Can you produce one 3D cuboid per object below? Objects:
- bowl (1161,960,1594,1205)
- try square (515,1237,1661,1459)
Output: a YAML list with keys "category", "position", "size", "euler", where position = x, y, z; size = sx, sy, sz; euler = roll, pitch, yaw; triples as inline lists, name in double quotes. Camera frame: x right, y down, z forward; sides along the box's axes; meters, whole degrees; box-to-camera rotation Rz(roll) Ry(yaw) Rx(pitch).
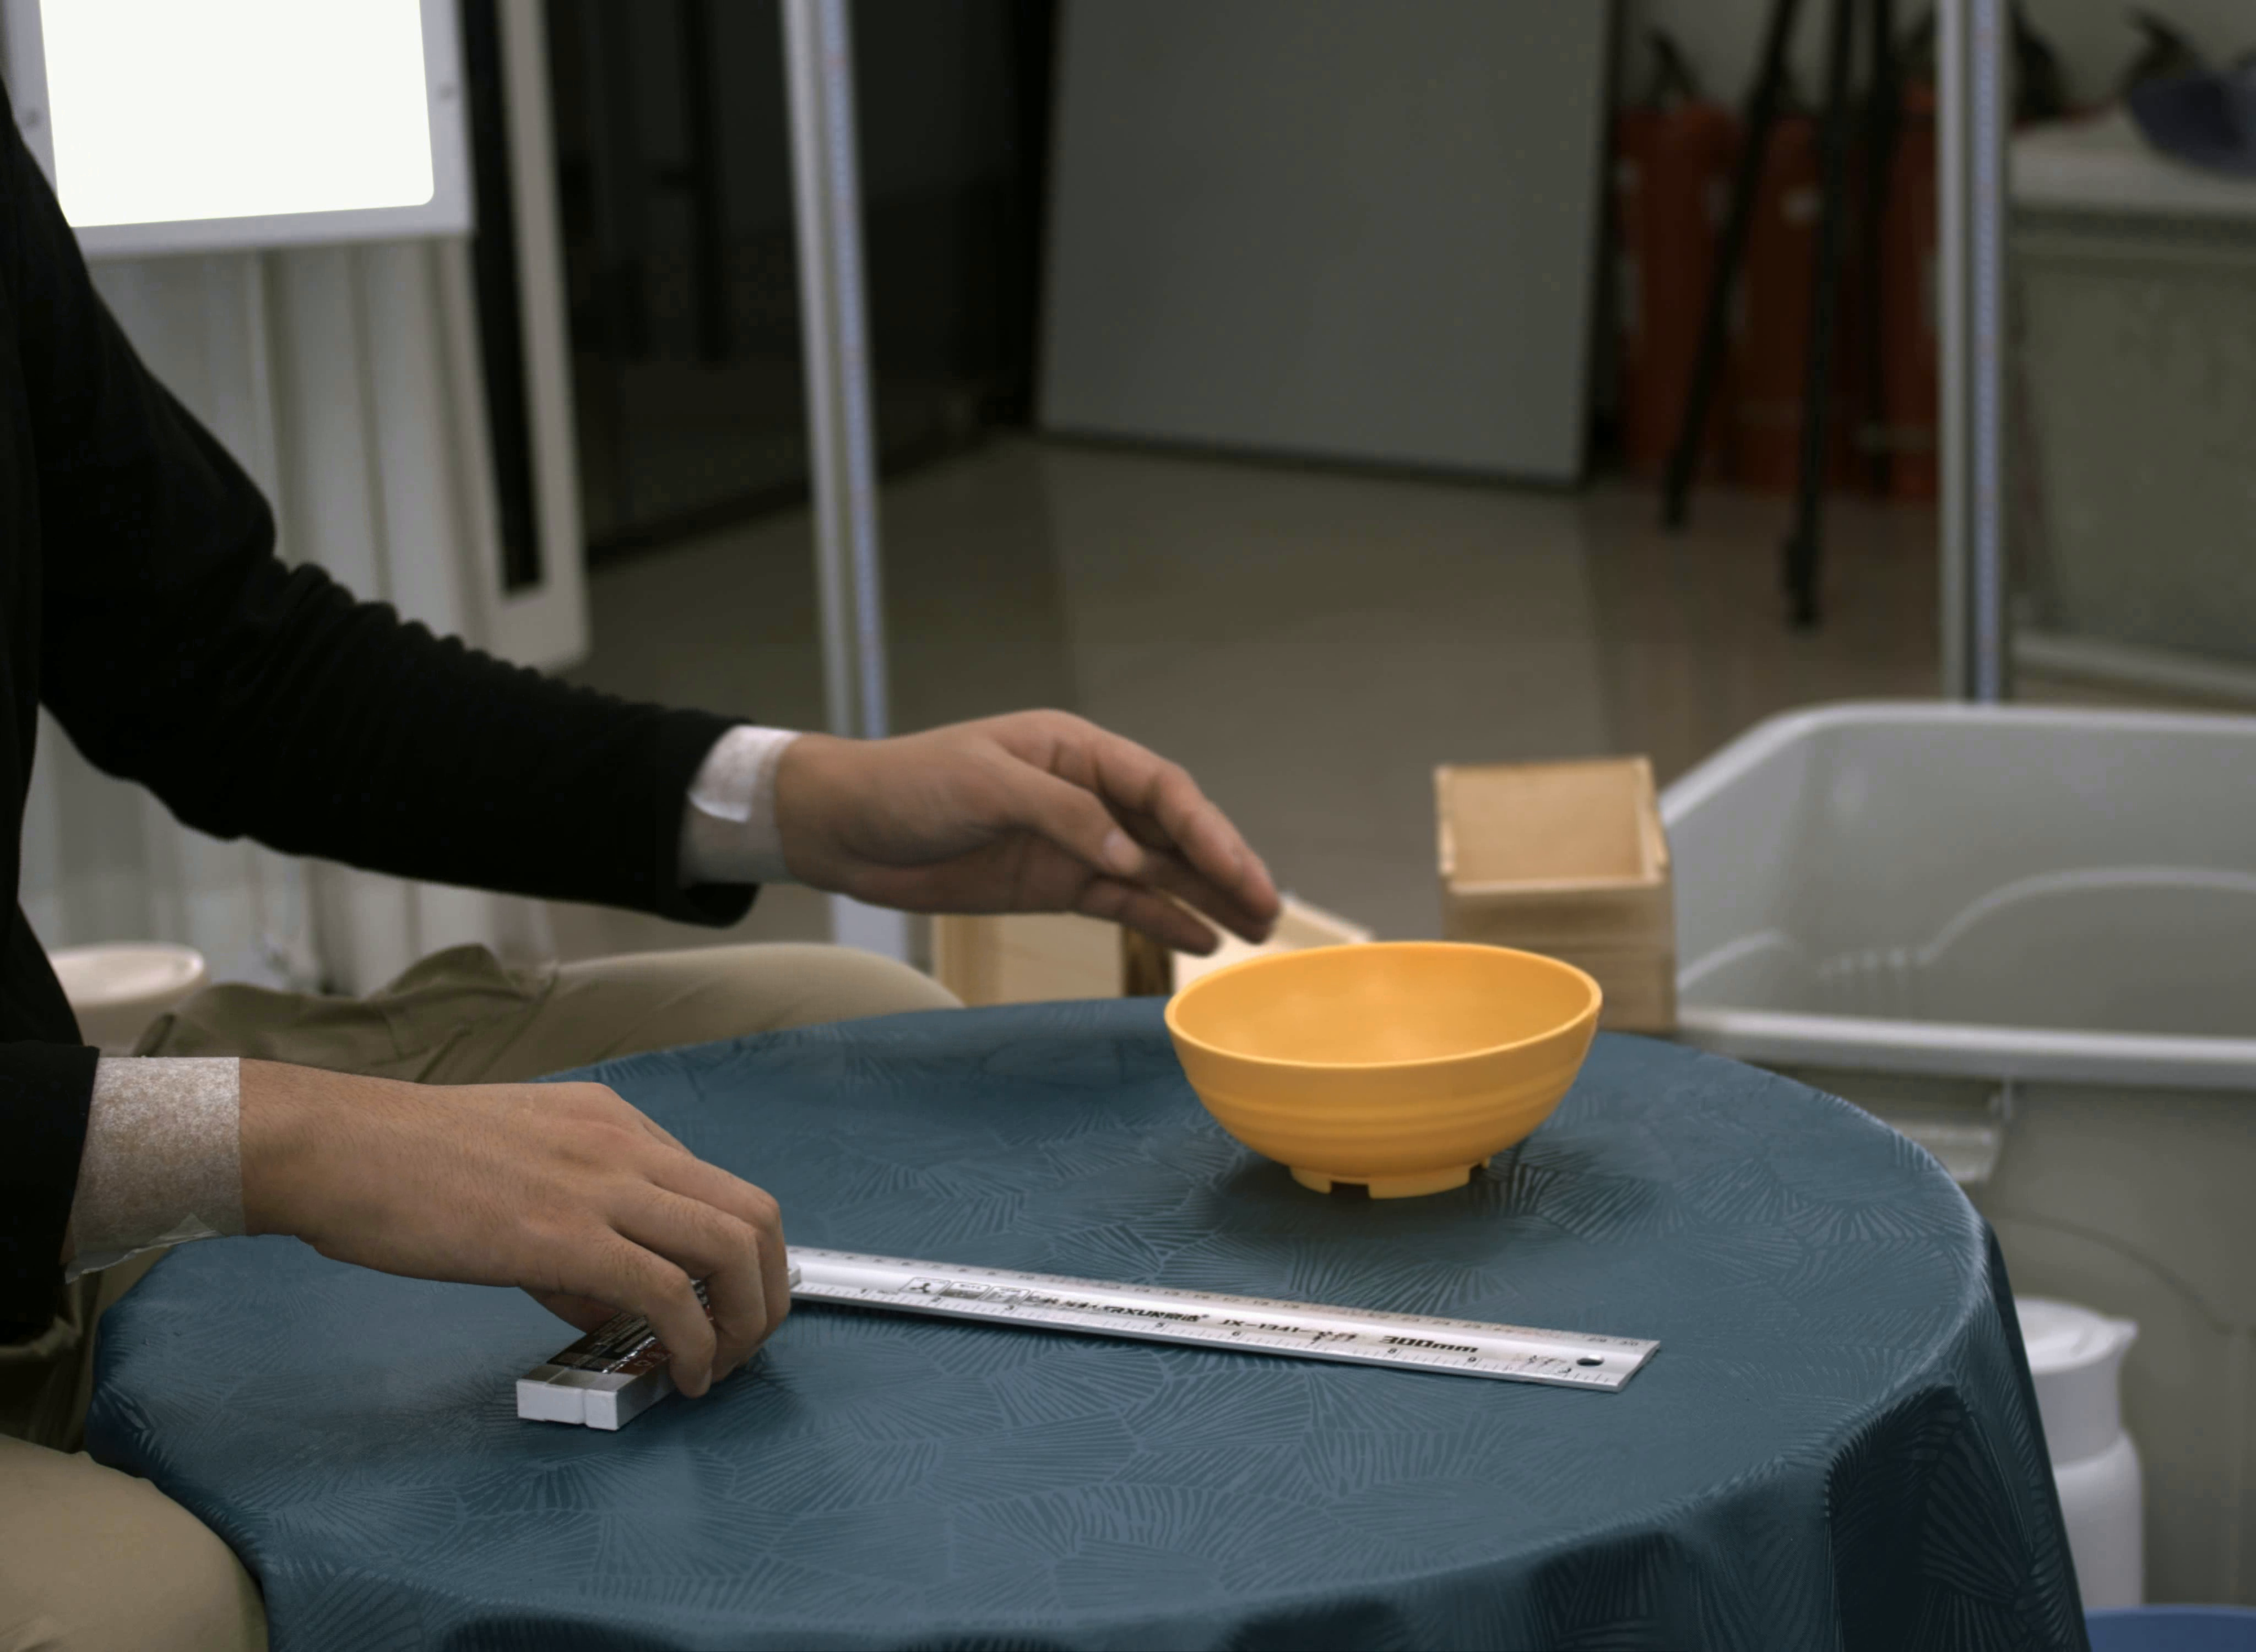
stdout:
- category: "bowl"
  position: [0.083, 0.087, 1.767]
  size: [0.143, 0.061, 0.145]
  euler: [-5, 11, 0]
- category: "try square"
  position: [-0.012, 0.164, 1.594]
  size: [0.313, 0.016, 0.150]
  euler: [4, 19, 25]
